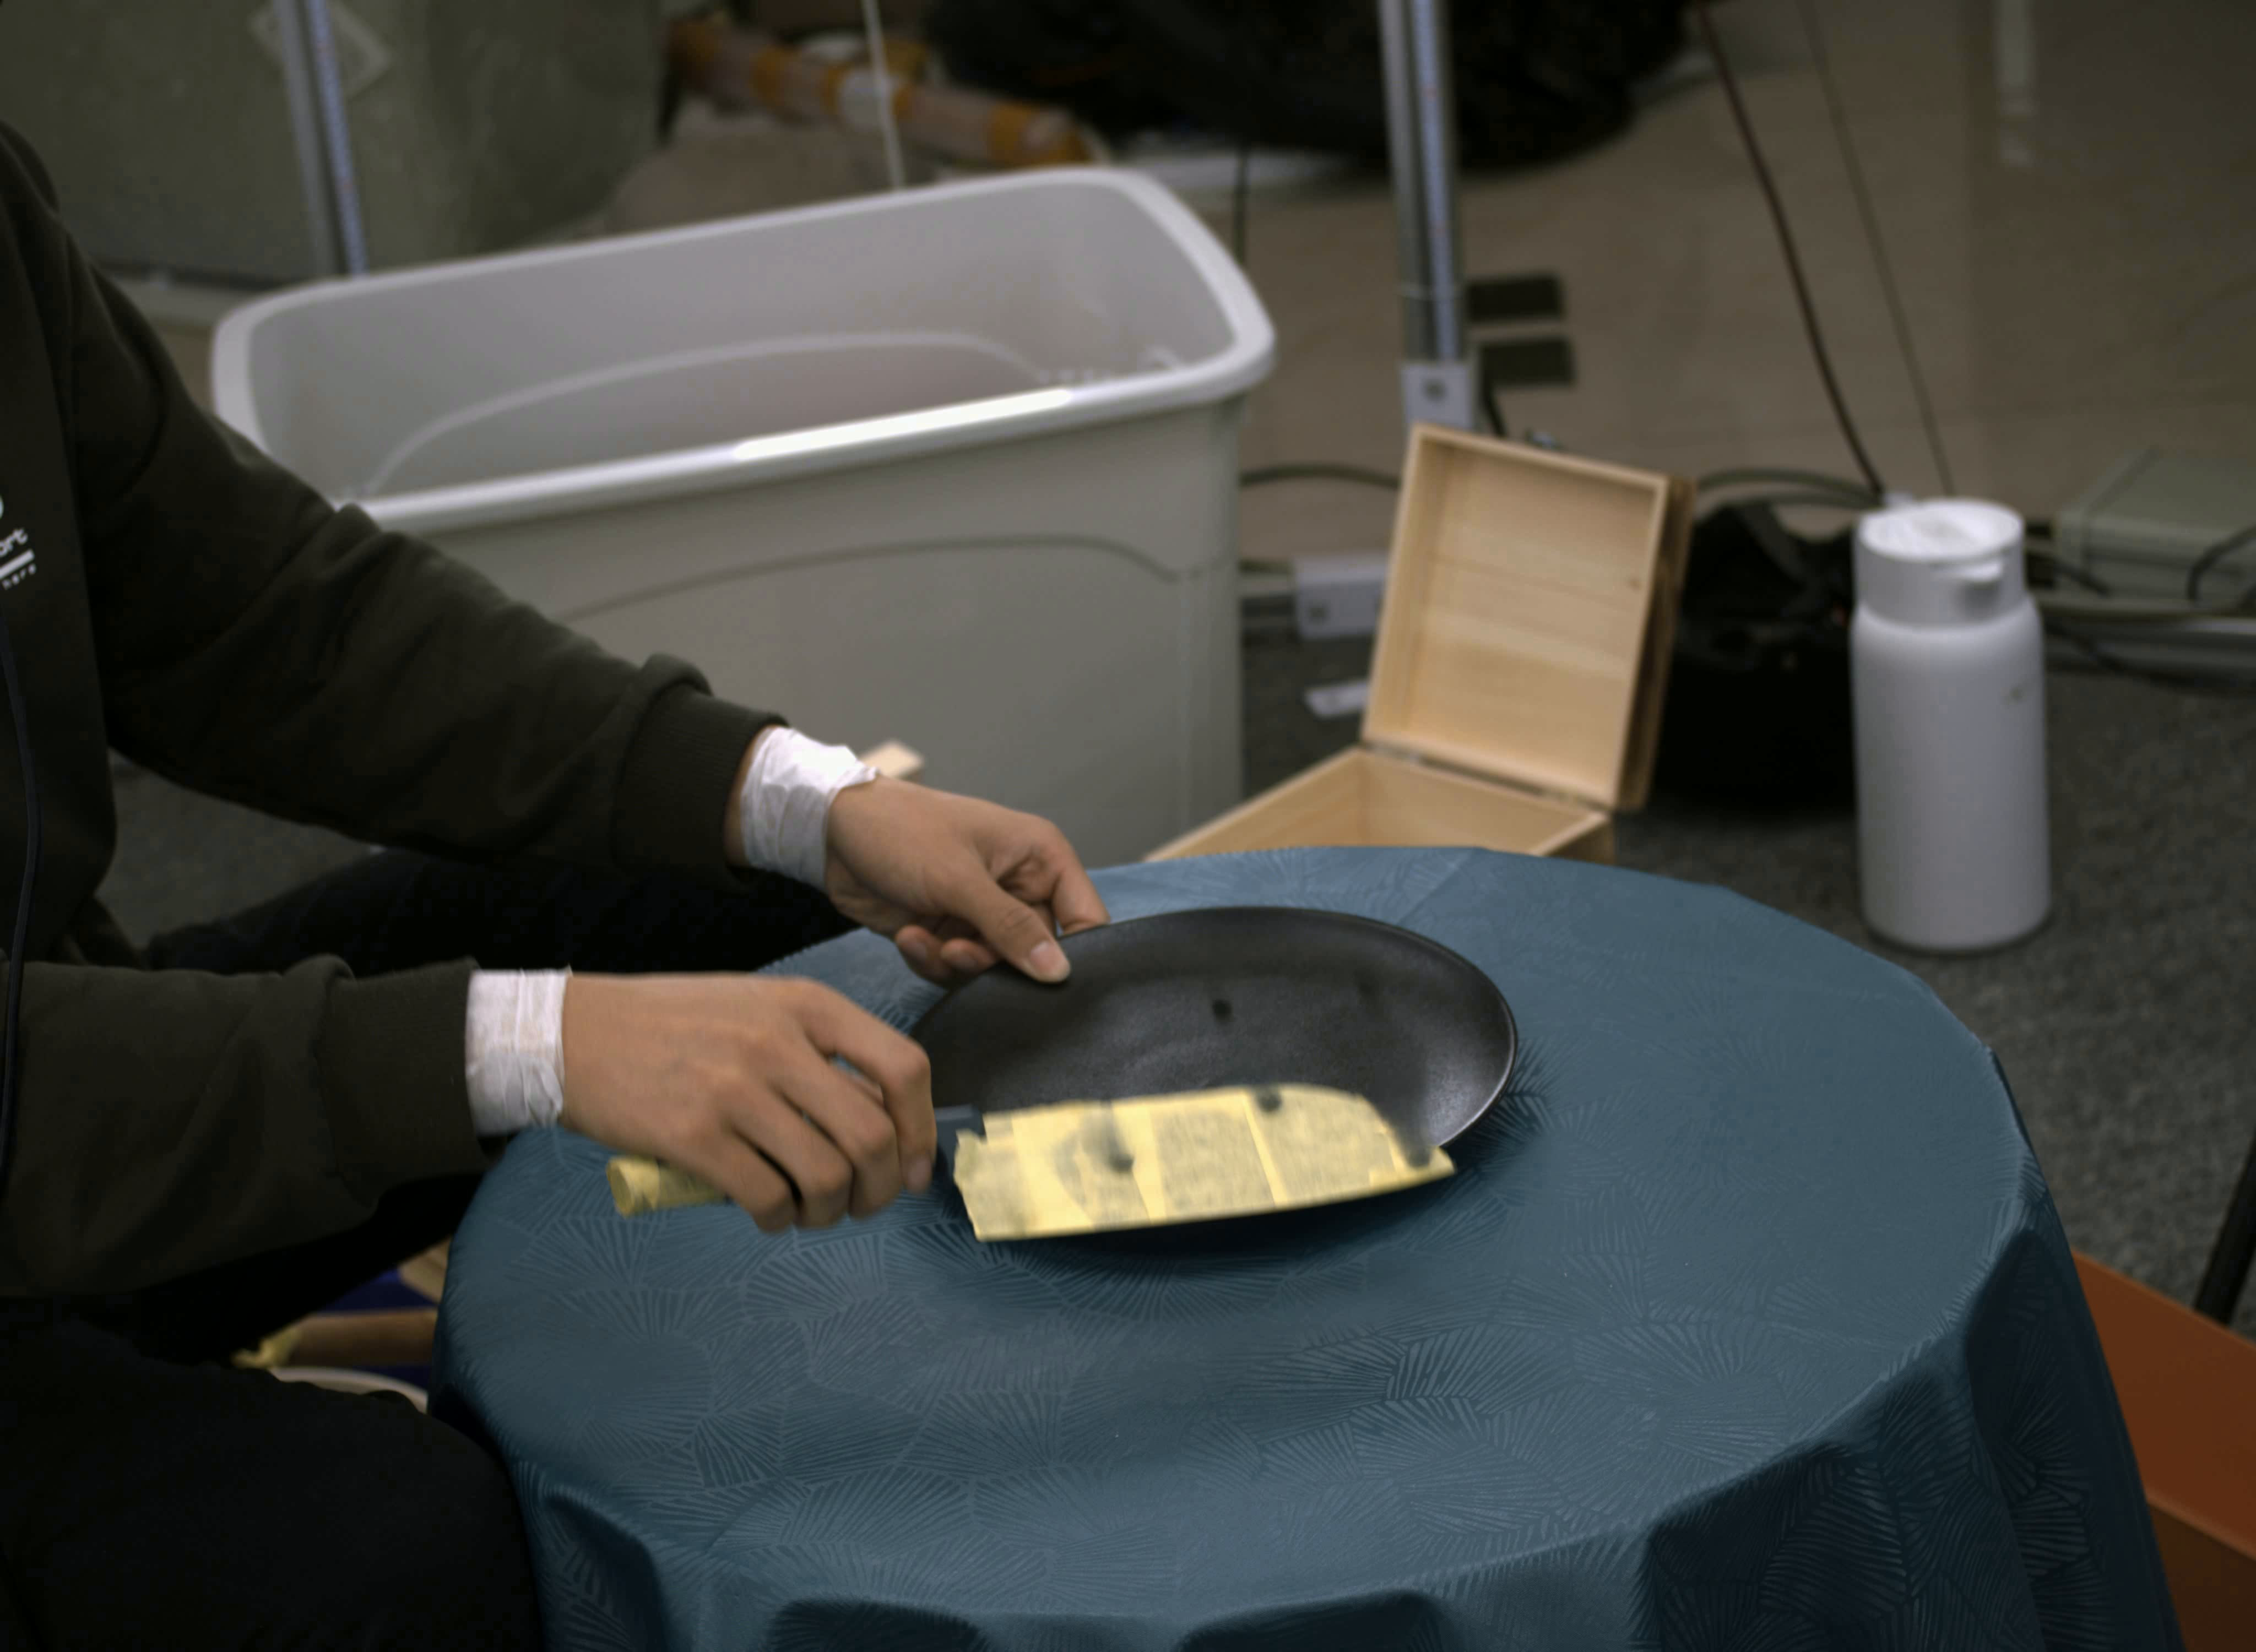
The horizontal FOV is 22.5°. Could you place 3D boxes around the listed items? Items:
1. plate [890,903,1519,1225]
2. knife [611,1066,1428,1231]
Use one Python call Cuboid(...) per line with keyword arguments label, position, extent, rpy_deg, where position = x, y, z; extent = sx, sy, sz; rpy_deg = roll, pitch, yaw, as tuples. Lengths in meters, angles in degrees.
Cuboid(label="plate", position=(0.030, 0.097, 2.194), extent=(0.244, 0.024, 0.240), rpy_deg=(-4, 28, 2))
Cuboid(label="knife", position=(-0.037, 0.118, 1.994), extent=(0.289, 0.028, 0.079), rpy_deg=(-6, 32, -6))
